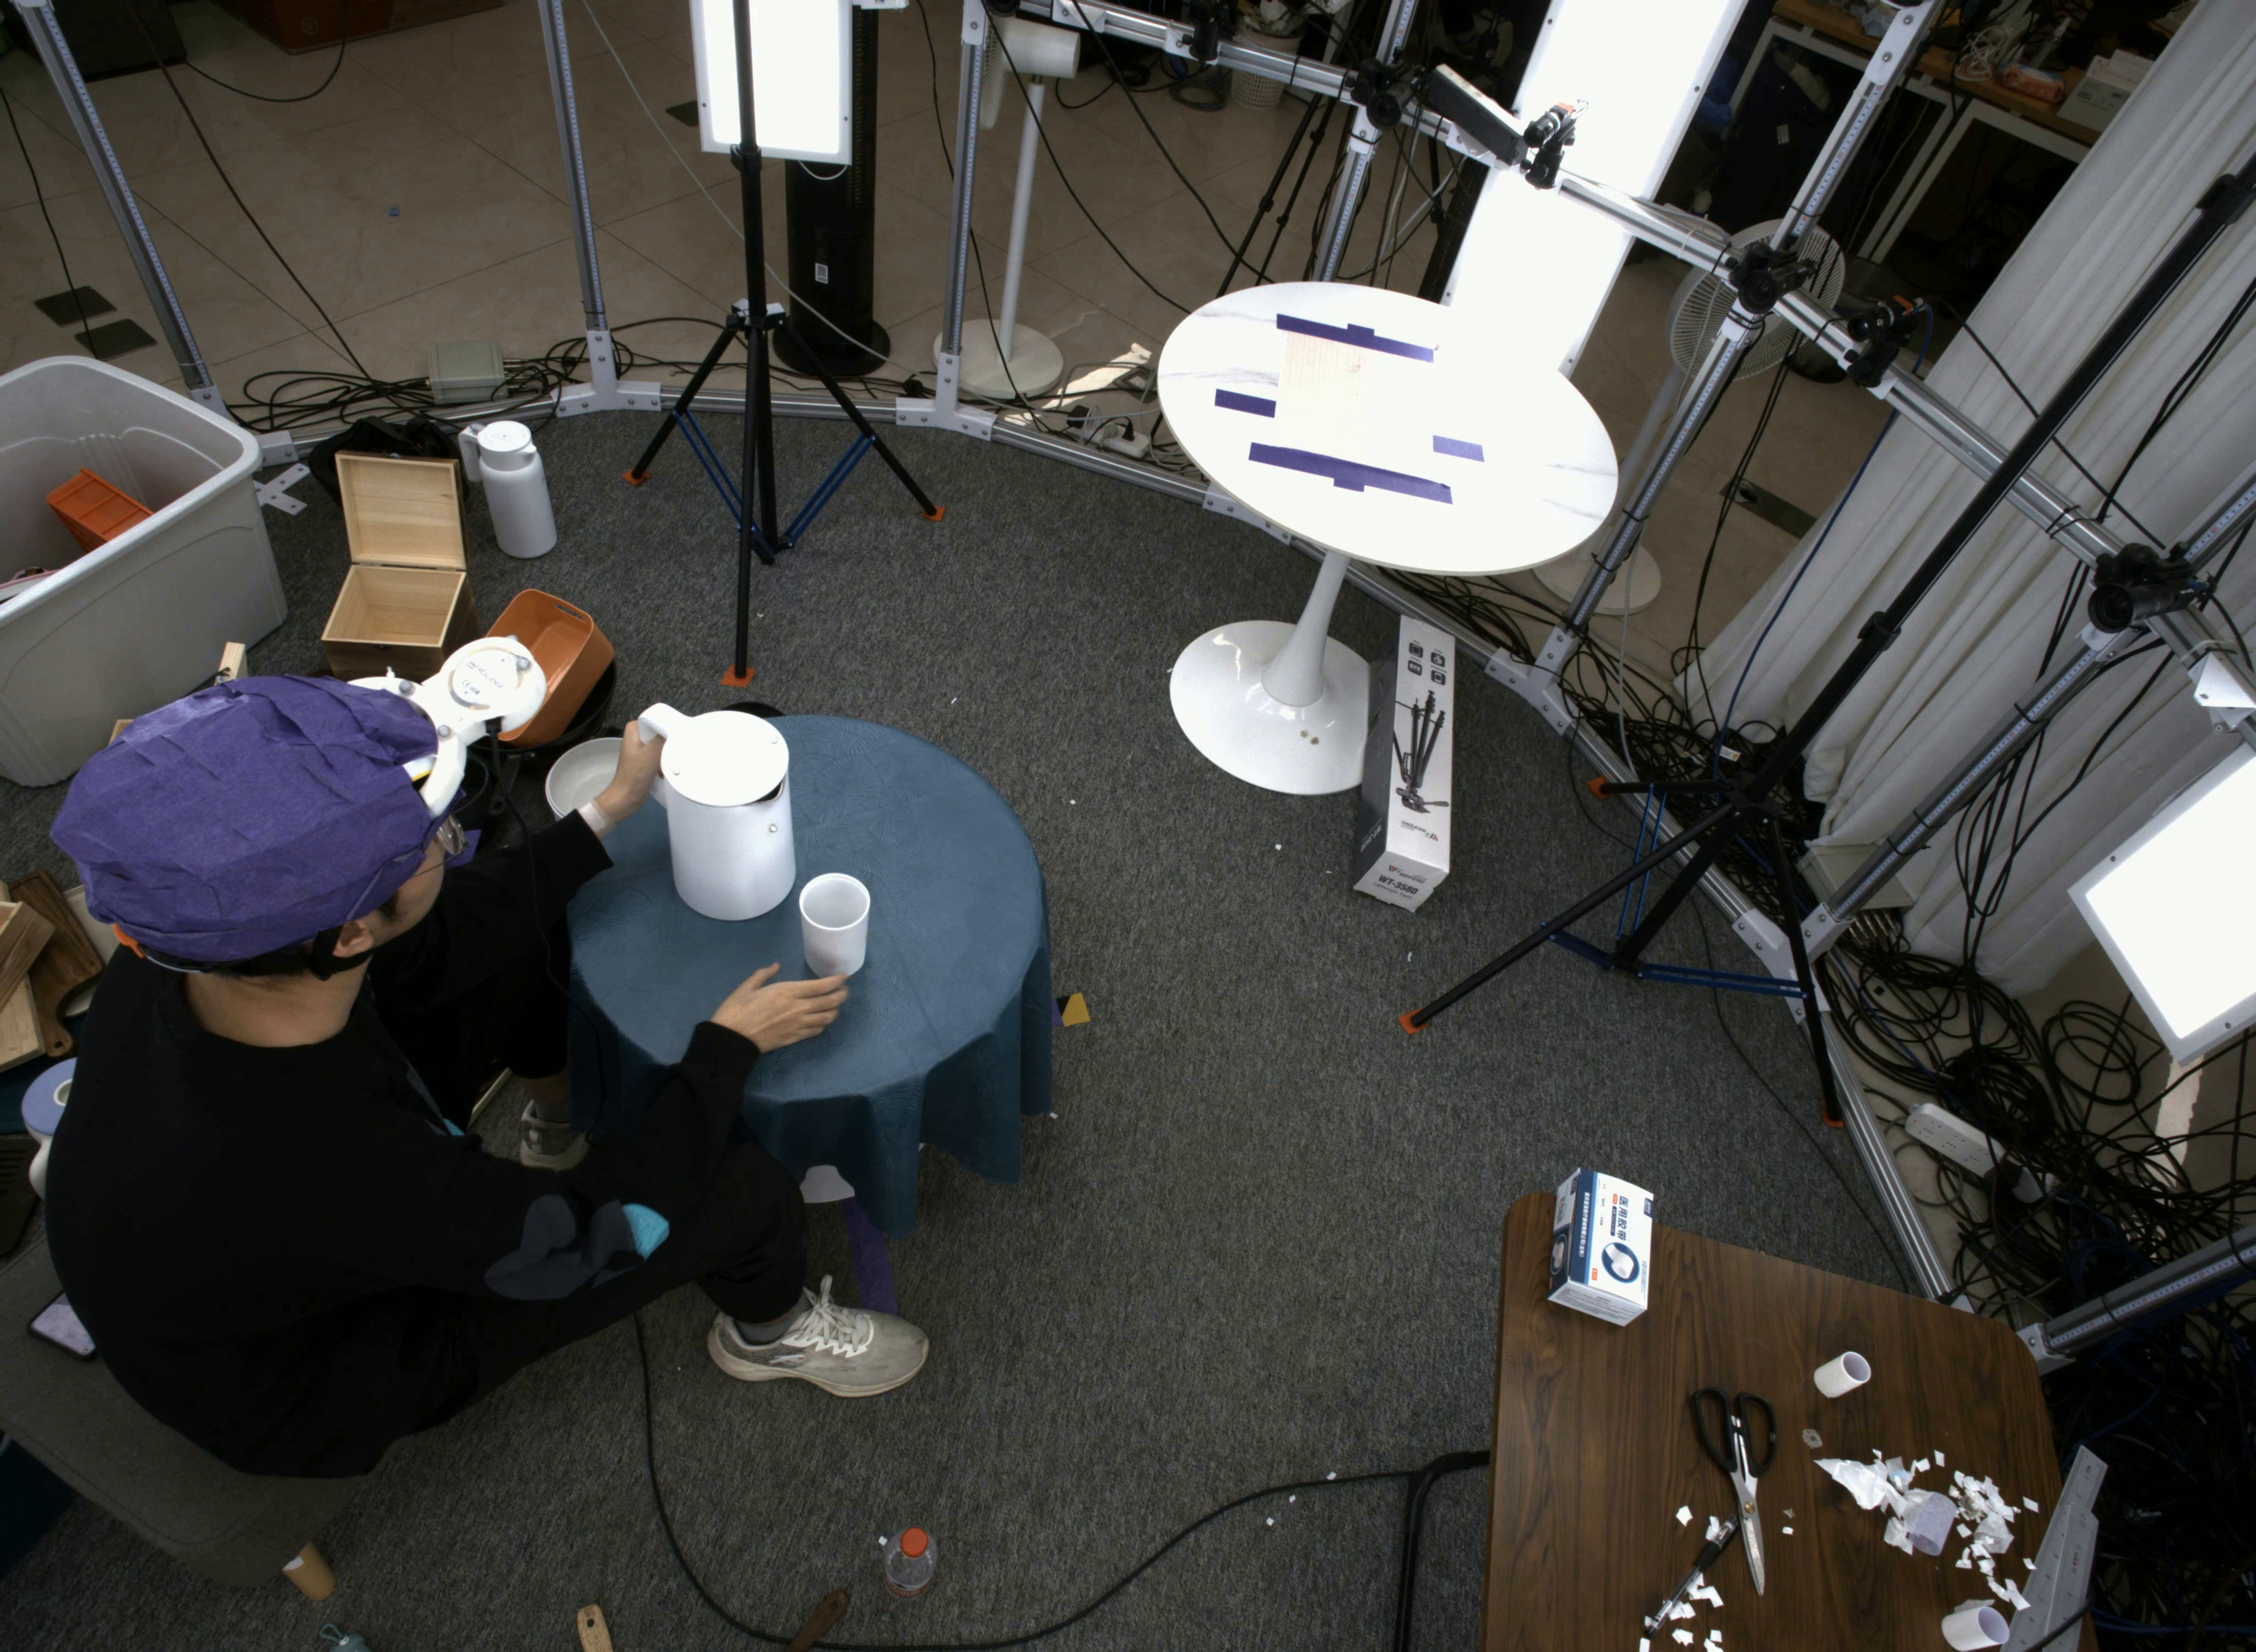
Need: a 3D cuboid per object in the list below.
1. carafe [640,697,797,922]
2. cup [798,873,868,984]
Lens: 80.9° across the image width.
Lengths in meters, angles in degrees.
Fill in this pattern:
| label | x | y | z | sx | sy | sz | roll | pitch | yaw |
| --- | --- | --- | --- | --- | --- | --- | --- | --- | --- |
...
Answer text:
| label | x | y | z | sx | sy | sz | roll | pitch | yaw |
| --- | --- | --- | --- | --- | --- | --- | --- | --- | --- |
| carafe | -0.506 | -0.028 | 1.579 | 0.209 | 0.245 | 0.152 | 33 | 52 | 12 |
| cup | -0.356 | 0.124 | 1.576 | 0.081 | 0.128 | 0.080 | 6 | 52 | -7 |
